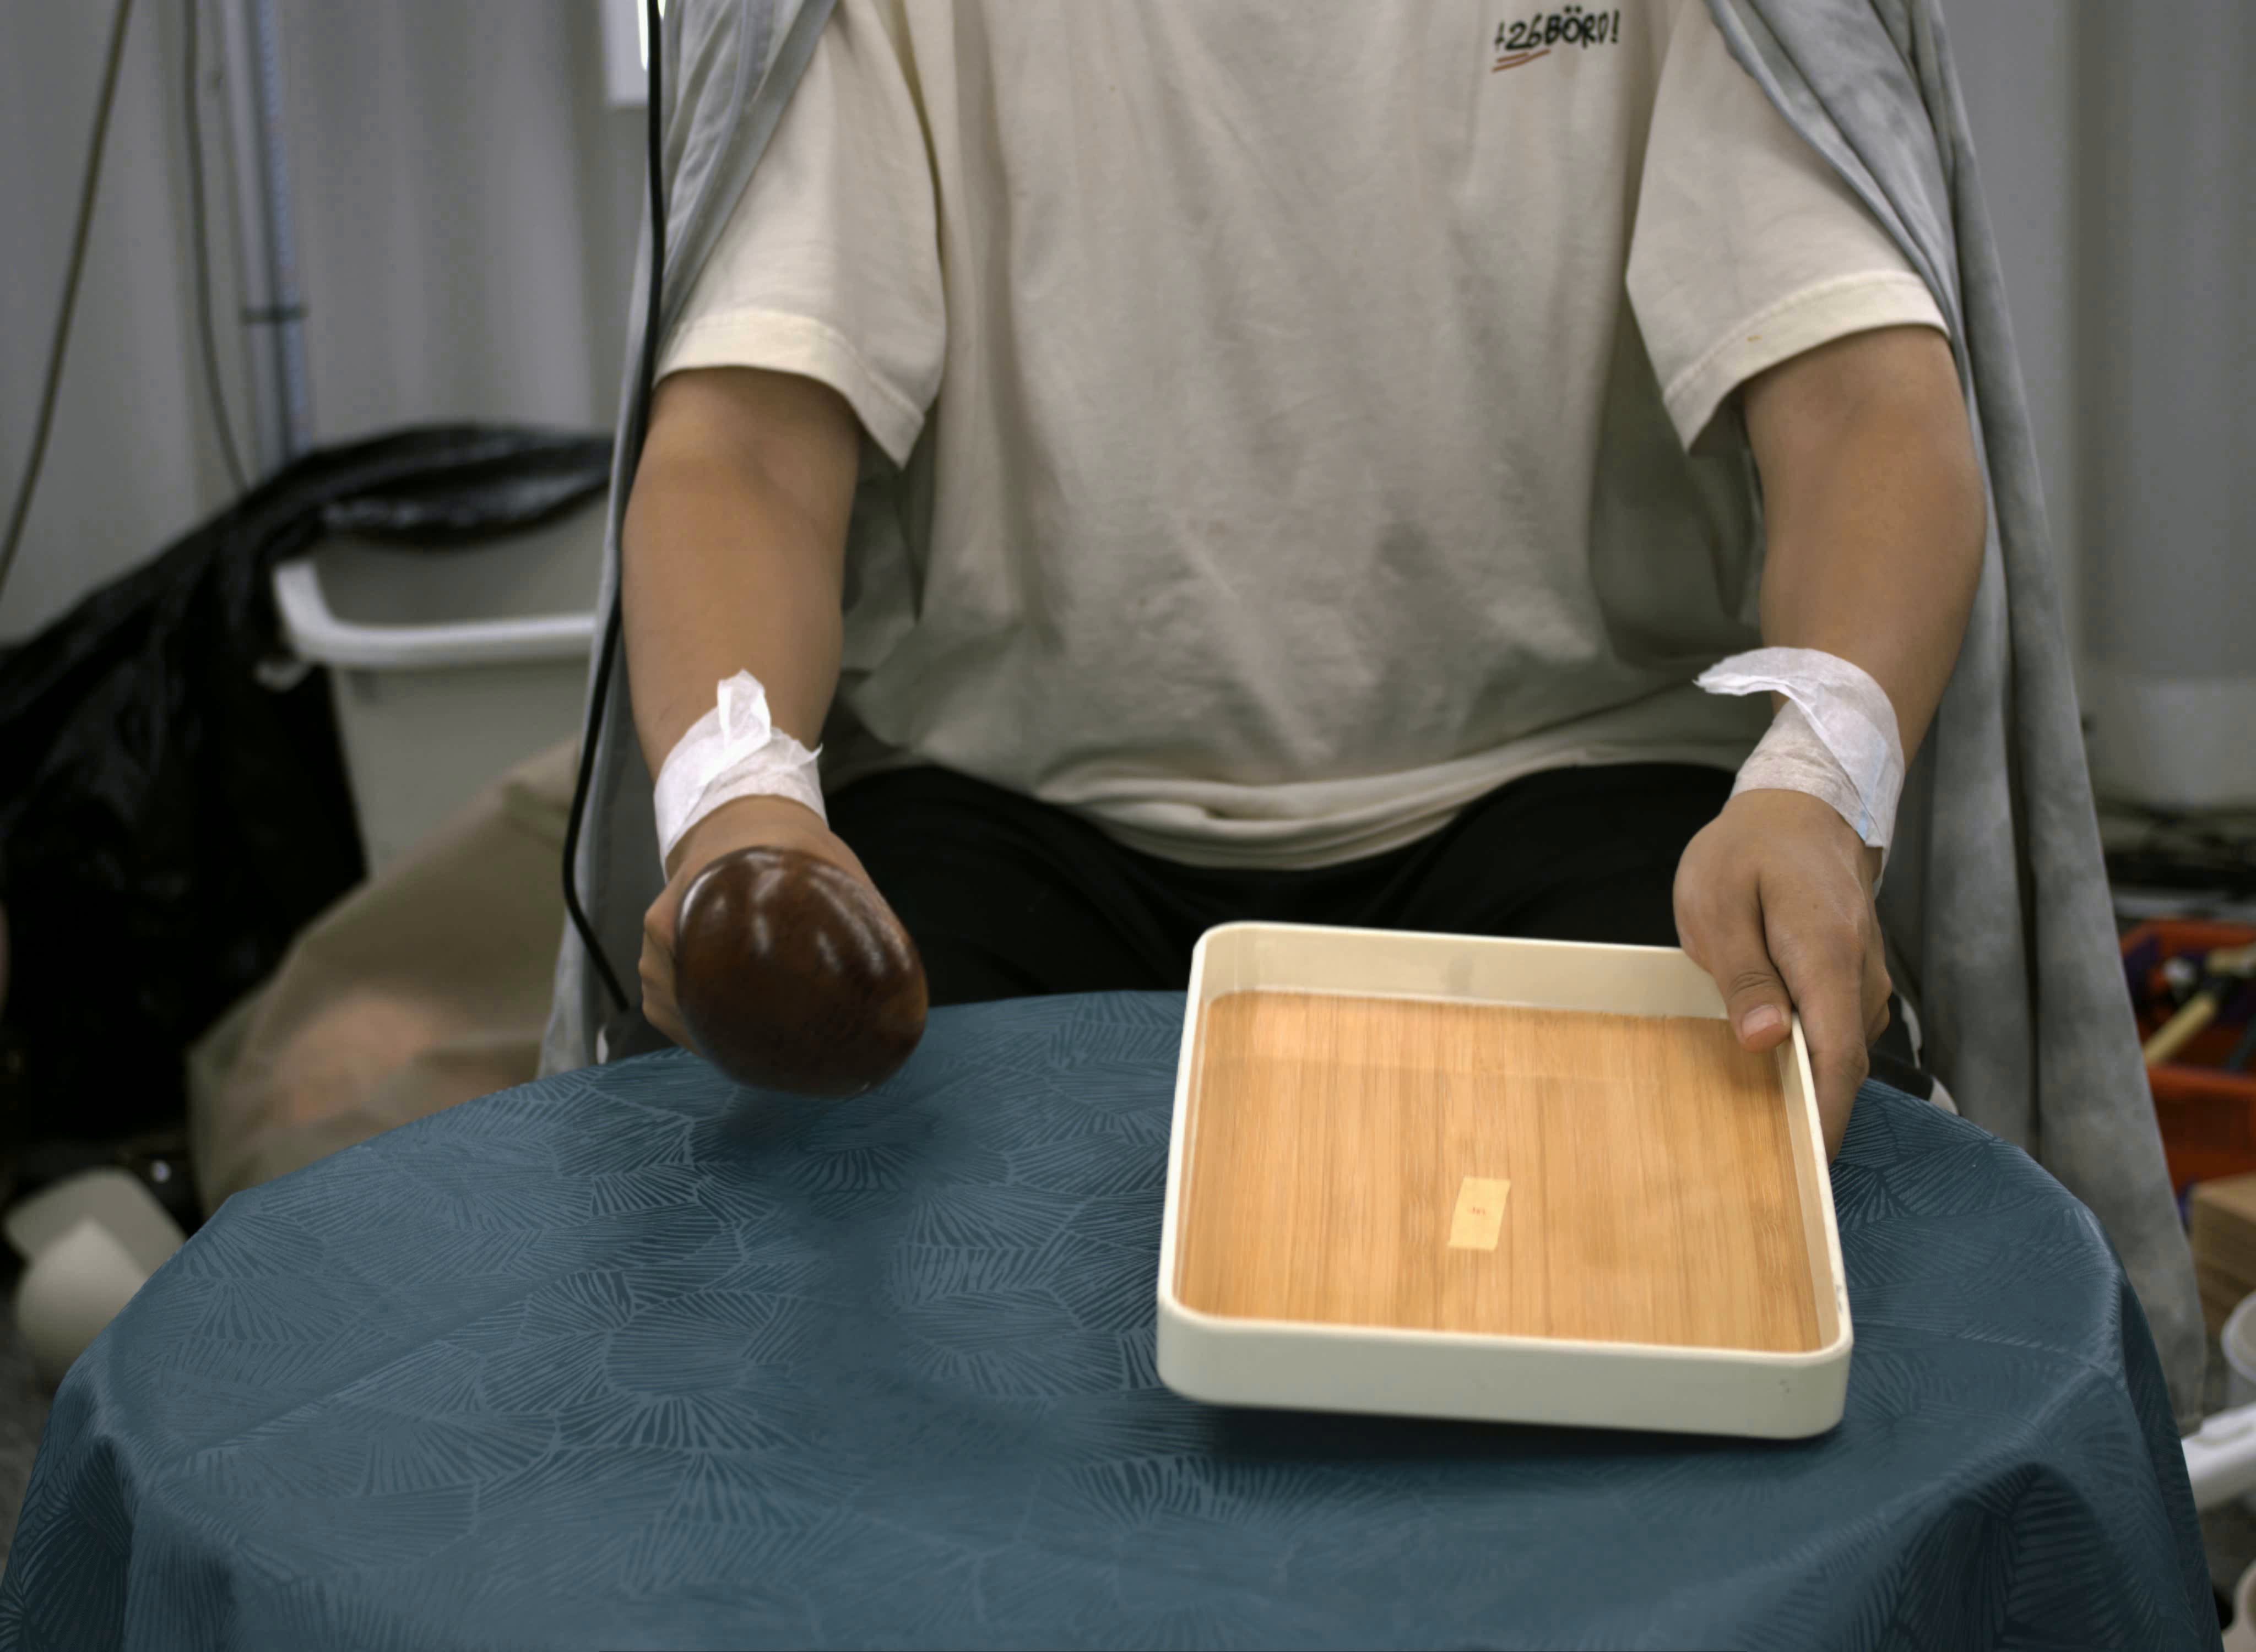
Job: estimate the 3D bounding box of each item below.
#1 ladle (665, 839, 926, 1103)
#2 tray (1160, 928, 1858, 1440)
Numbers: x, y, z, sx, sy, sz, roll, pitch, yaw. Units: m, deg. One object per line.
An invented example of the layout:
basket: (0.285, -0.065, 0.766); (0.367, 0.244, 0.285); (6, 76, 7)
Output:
ladle: (-0.096, 0.039, 1.667); (0.076, 0.082, 0.274); (-39, 1, 3)
tray: (0.110, 0.100, 1.611); (0.191, 0.027, 0.303); (3, 20, 3)
